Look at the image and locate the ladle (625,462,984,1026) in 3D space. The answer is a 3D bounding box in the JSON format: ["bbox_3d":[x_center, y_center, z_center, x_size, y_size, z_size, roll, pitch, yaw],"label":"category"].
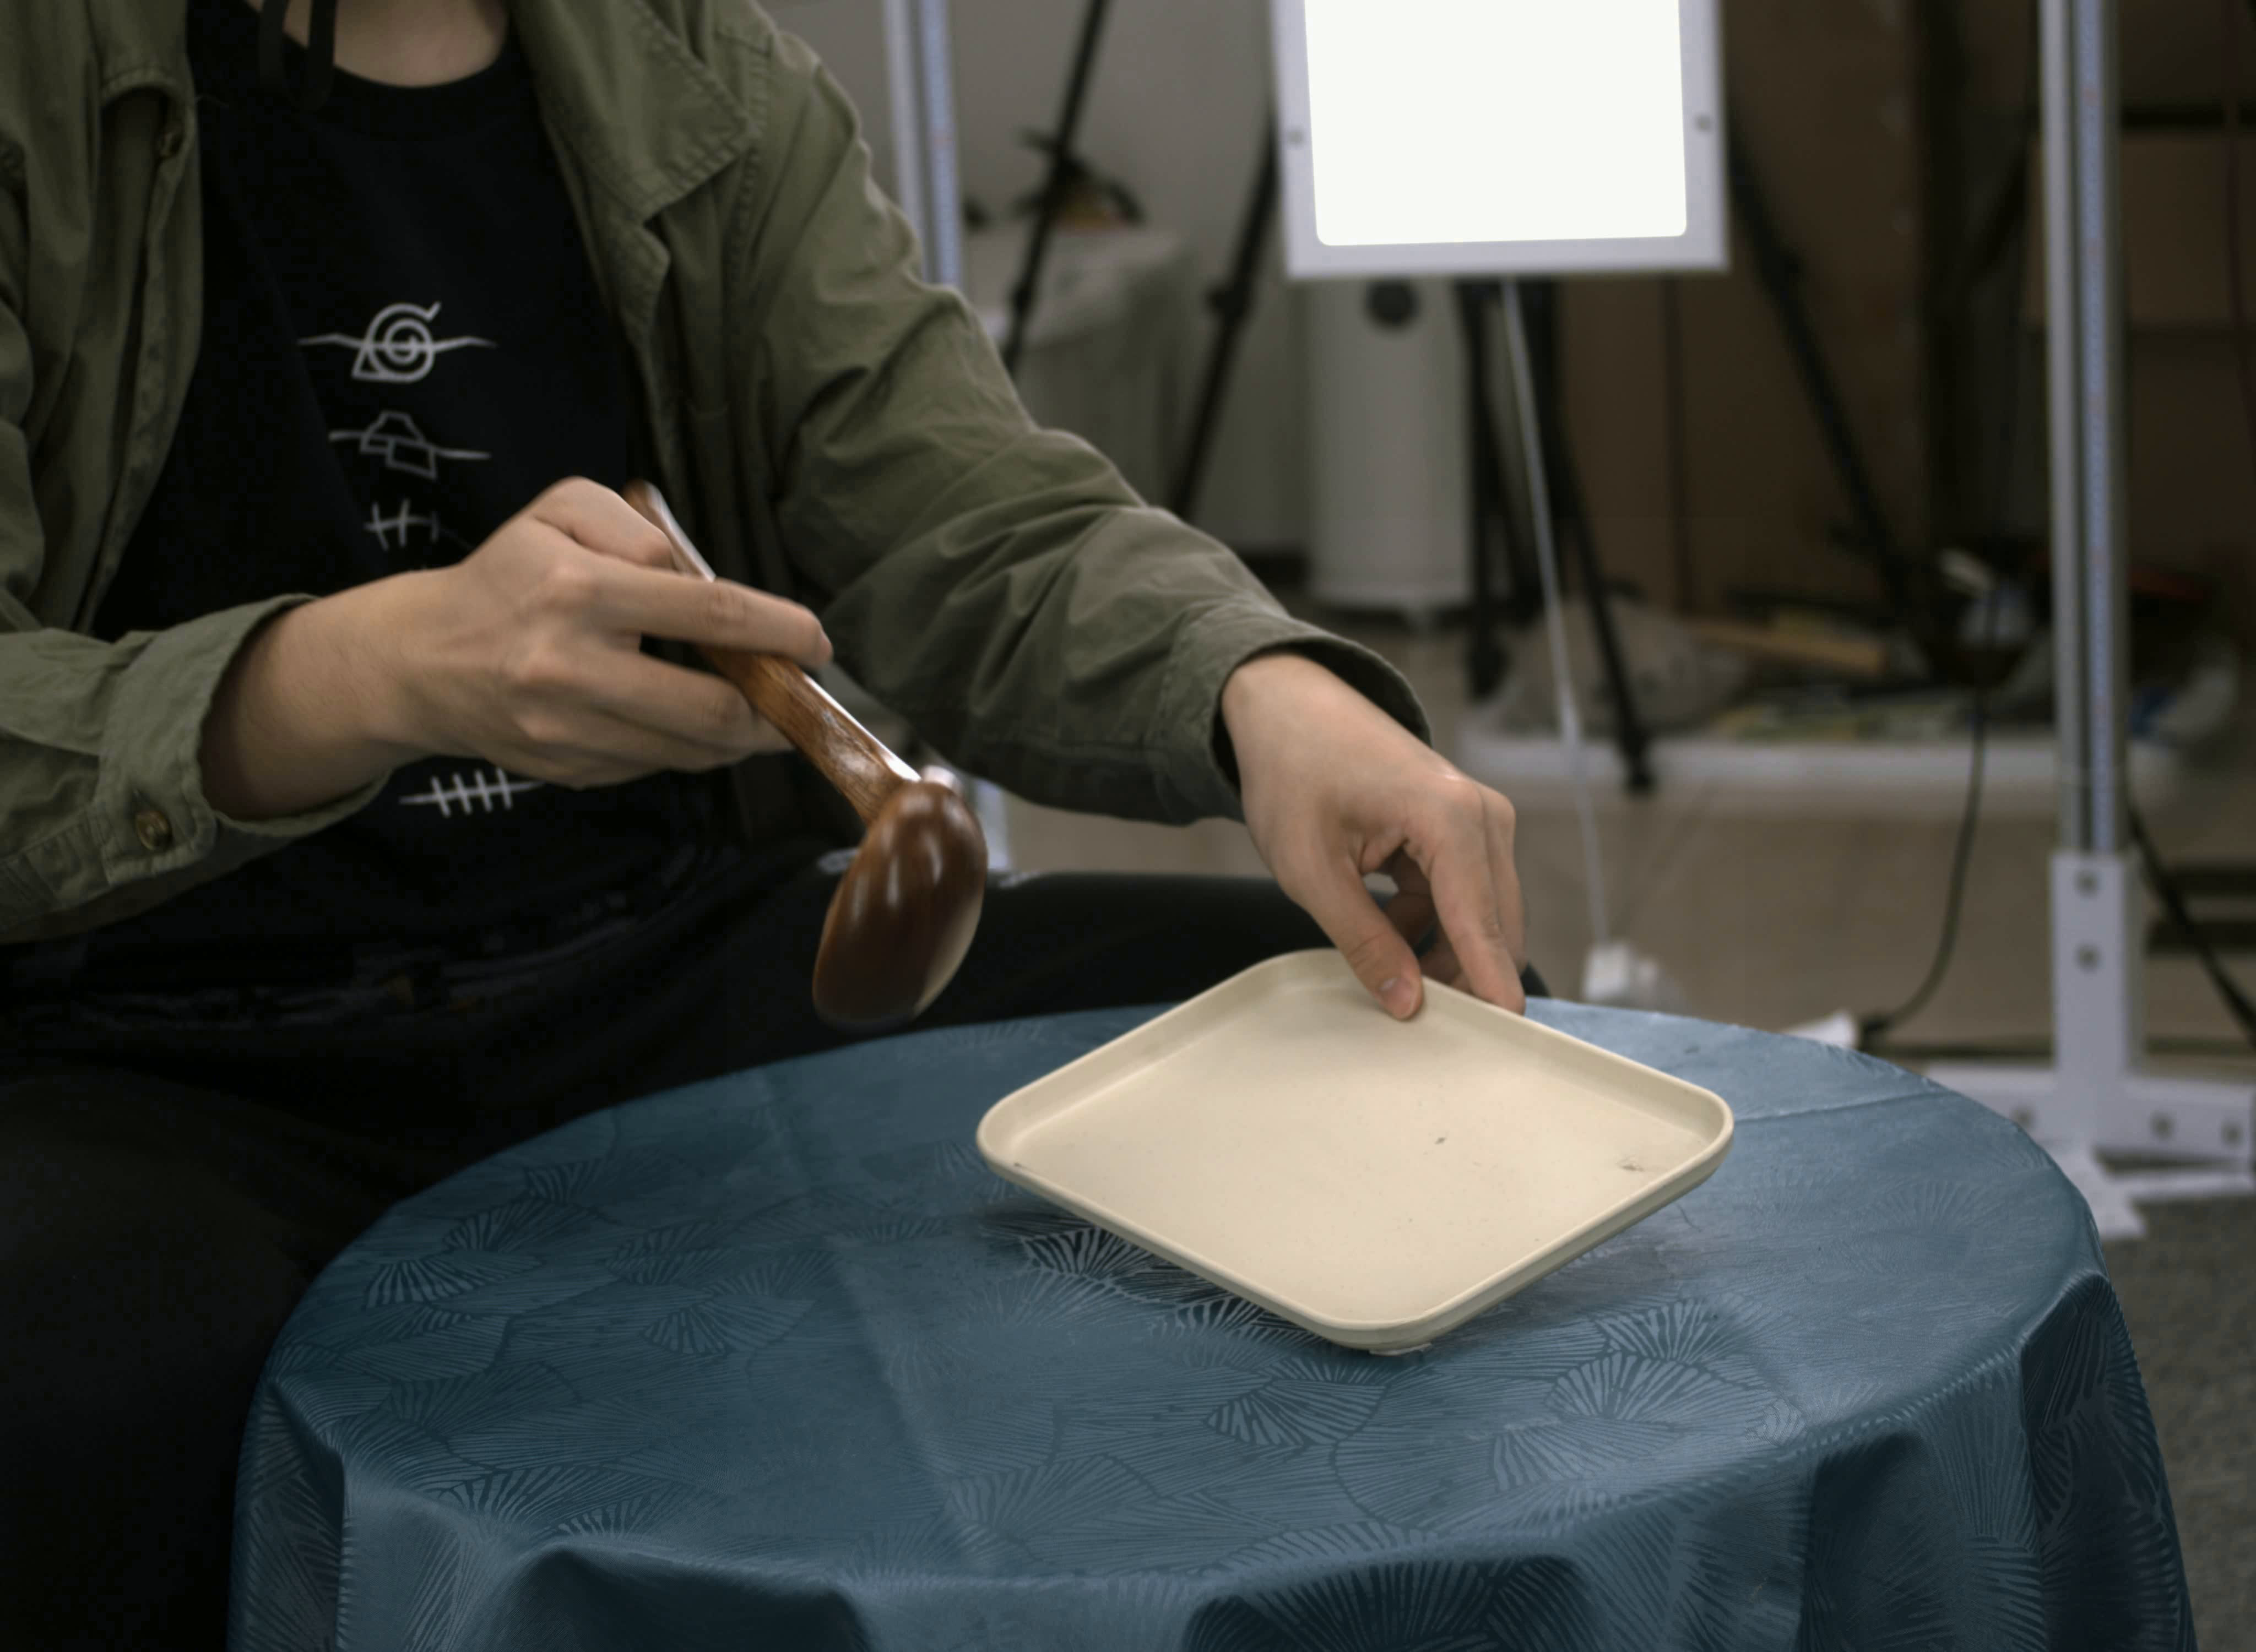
[{"bbox_3d":[-0.120,-0.035,1.696,0.075,0.083,0.277,4,30,-36],"label":"ladle"}]

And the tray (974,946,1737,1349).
[{"bbox_3d":[0.074,0.105,1.819,0.168,0.017,0.244,-27,28,-28],"label":"tray"}]
